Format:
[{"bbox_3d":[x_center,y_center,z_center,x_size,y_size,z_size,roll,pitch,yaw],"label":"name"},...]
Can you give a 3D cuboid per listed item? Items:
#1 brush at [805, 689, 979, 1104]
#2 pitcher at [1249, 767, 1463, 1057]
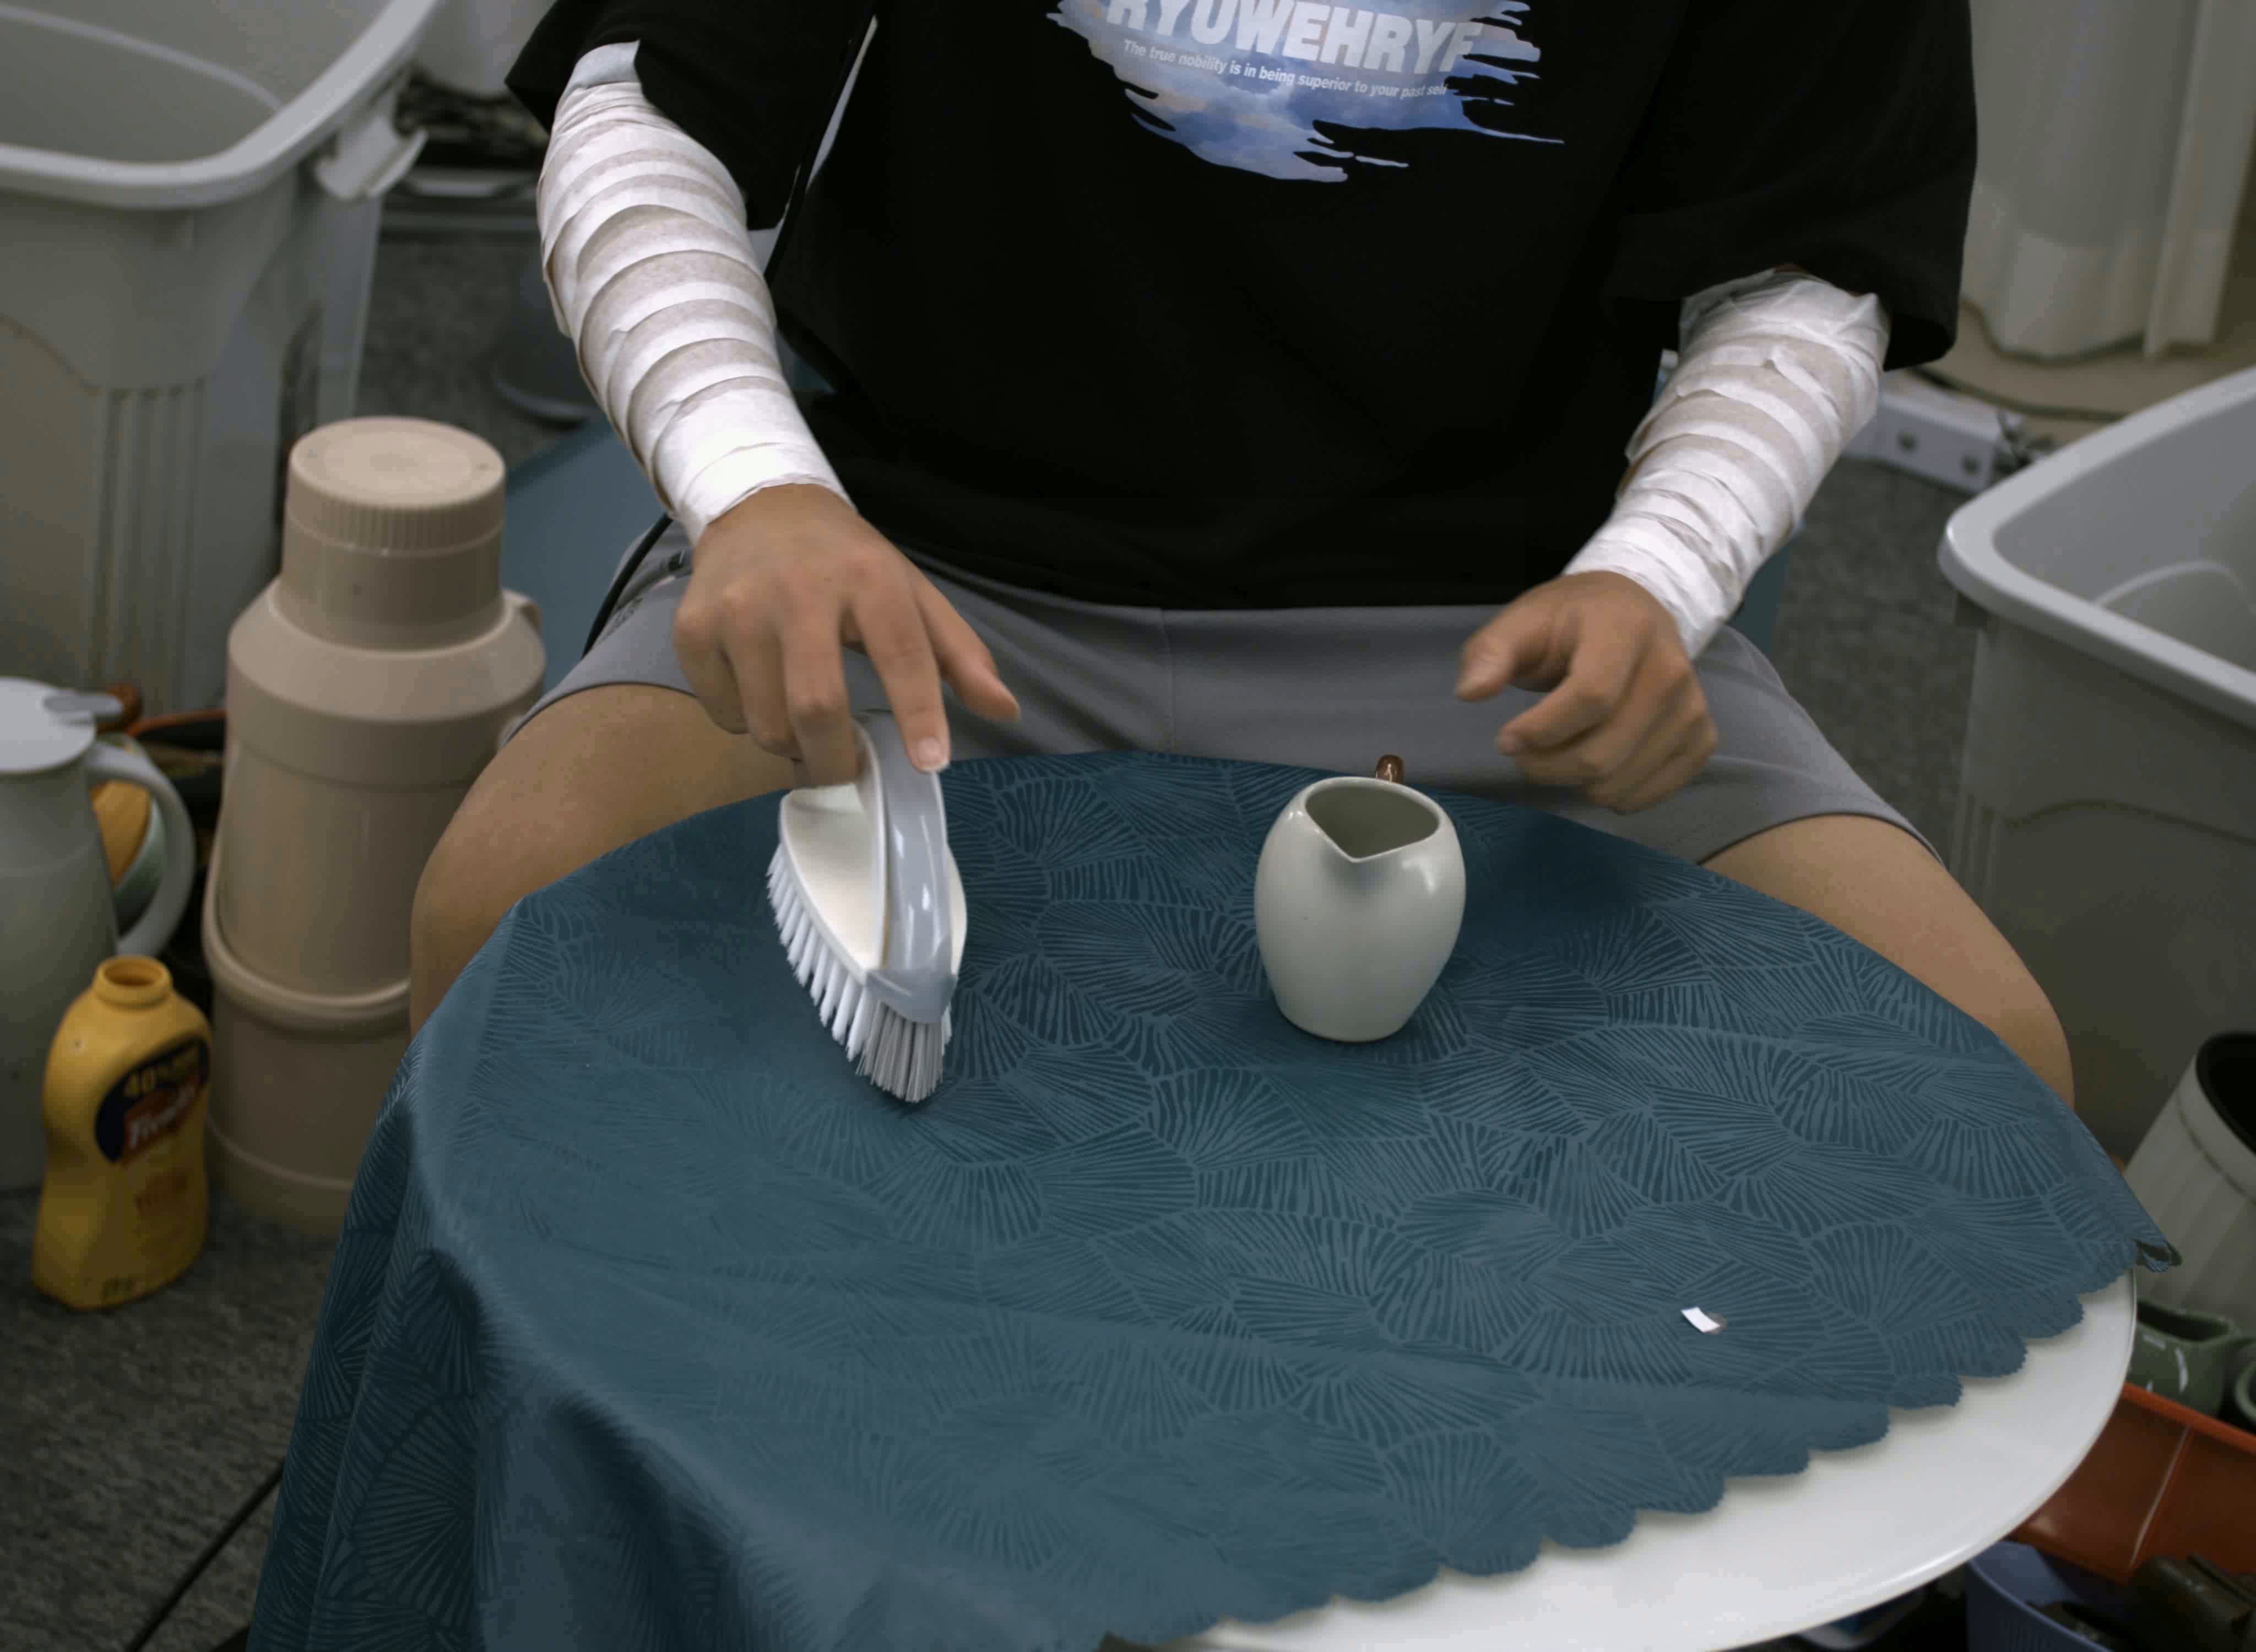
[{"bbox_3d":[-0.080,0.017,1.892,0.061,0.094,0.177,1,31,-9],"label":"brush"},{"bbox_3d":[0.082,0.031,1.911,0.076,0.087,0.119,15,29,8],"label":"pitcher"}]
